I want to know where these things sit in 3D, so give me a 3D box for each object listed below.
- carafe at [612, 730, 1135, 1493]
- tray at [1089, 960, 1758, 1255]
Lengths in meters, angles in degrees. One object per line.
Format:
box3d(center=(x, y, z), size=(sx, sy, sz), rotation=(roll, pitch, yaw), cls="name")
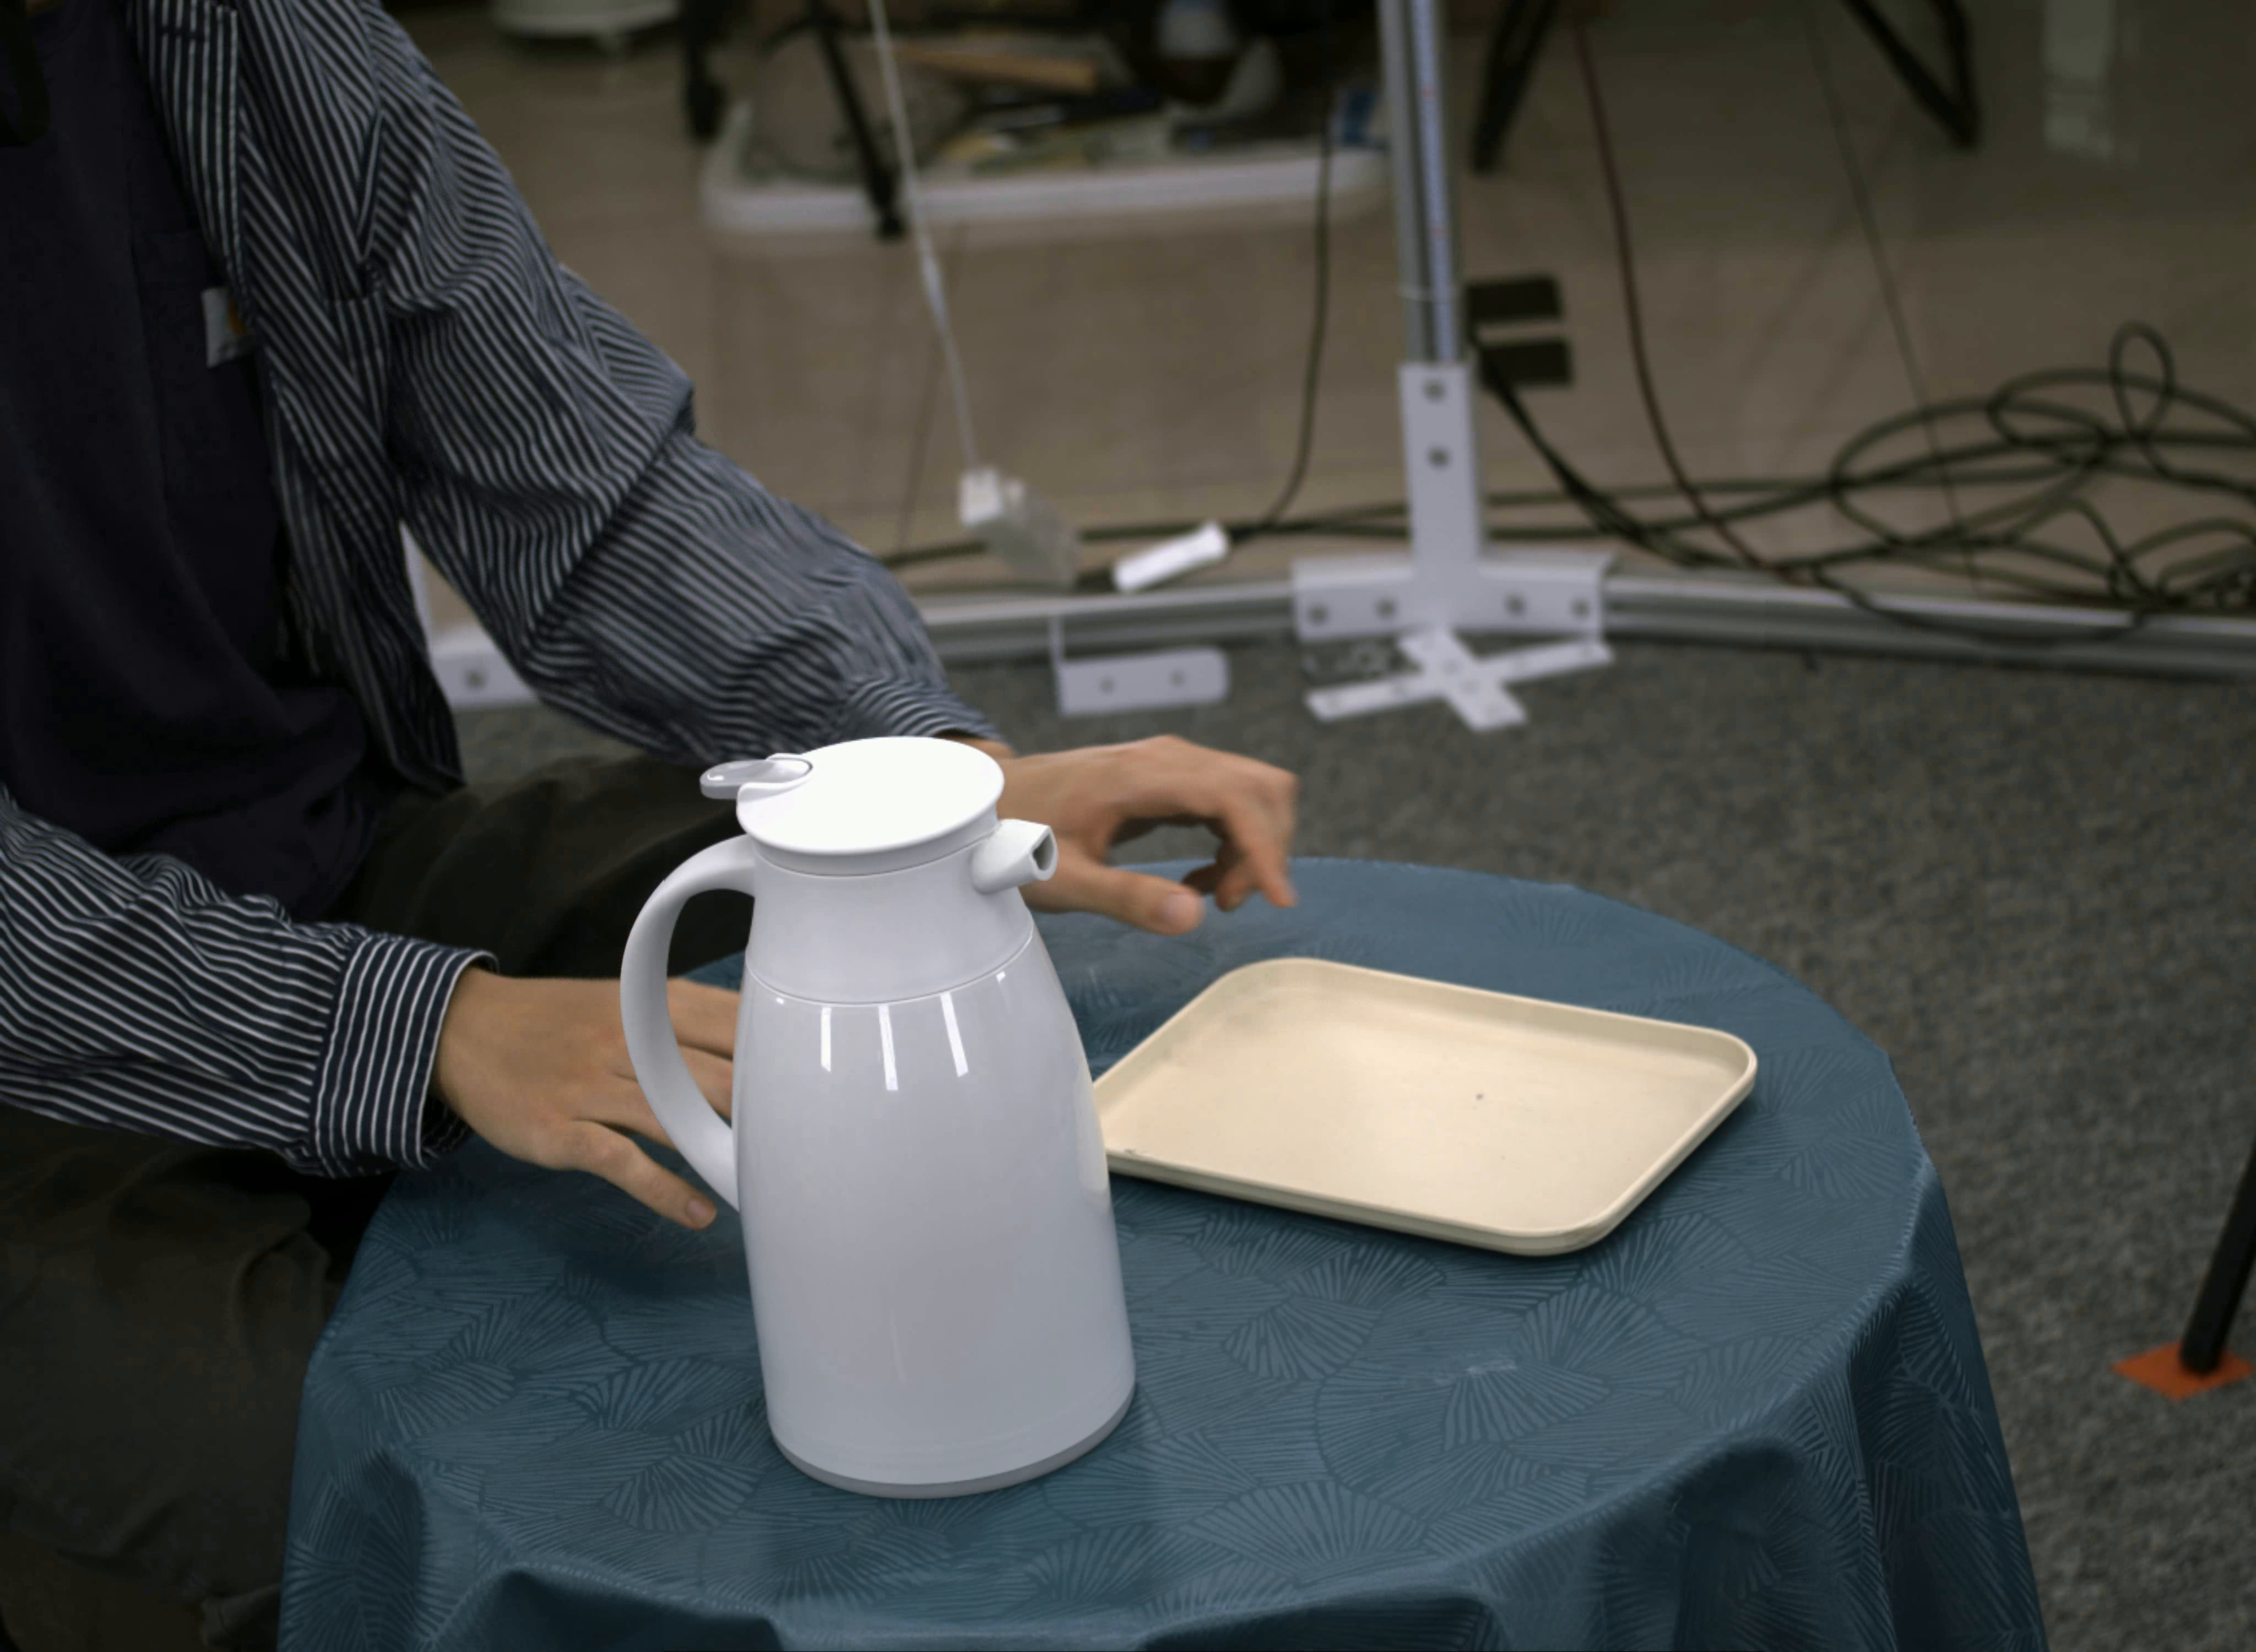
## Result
box3d(center=(-0.095, 0.092, 1.974), size=(0.167, 0.253, 0.130), rotation=(1, 28, 17), cls="carafe")
box3d(center=(0.108, 0.107, 2.171), size=(0.238, 0.018, 0.169), rotation=(10, 29, 31), cls="tray")
